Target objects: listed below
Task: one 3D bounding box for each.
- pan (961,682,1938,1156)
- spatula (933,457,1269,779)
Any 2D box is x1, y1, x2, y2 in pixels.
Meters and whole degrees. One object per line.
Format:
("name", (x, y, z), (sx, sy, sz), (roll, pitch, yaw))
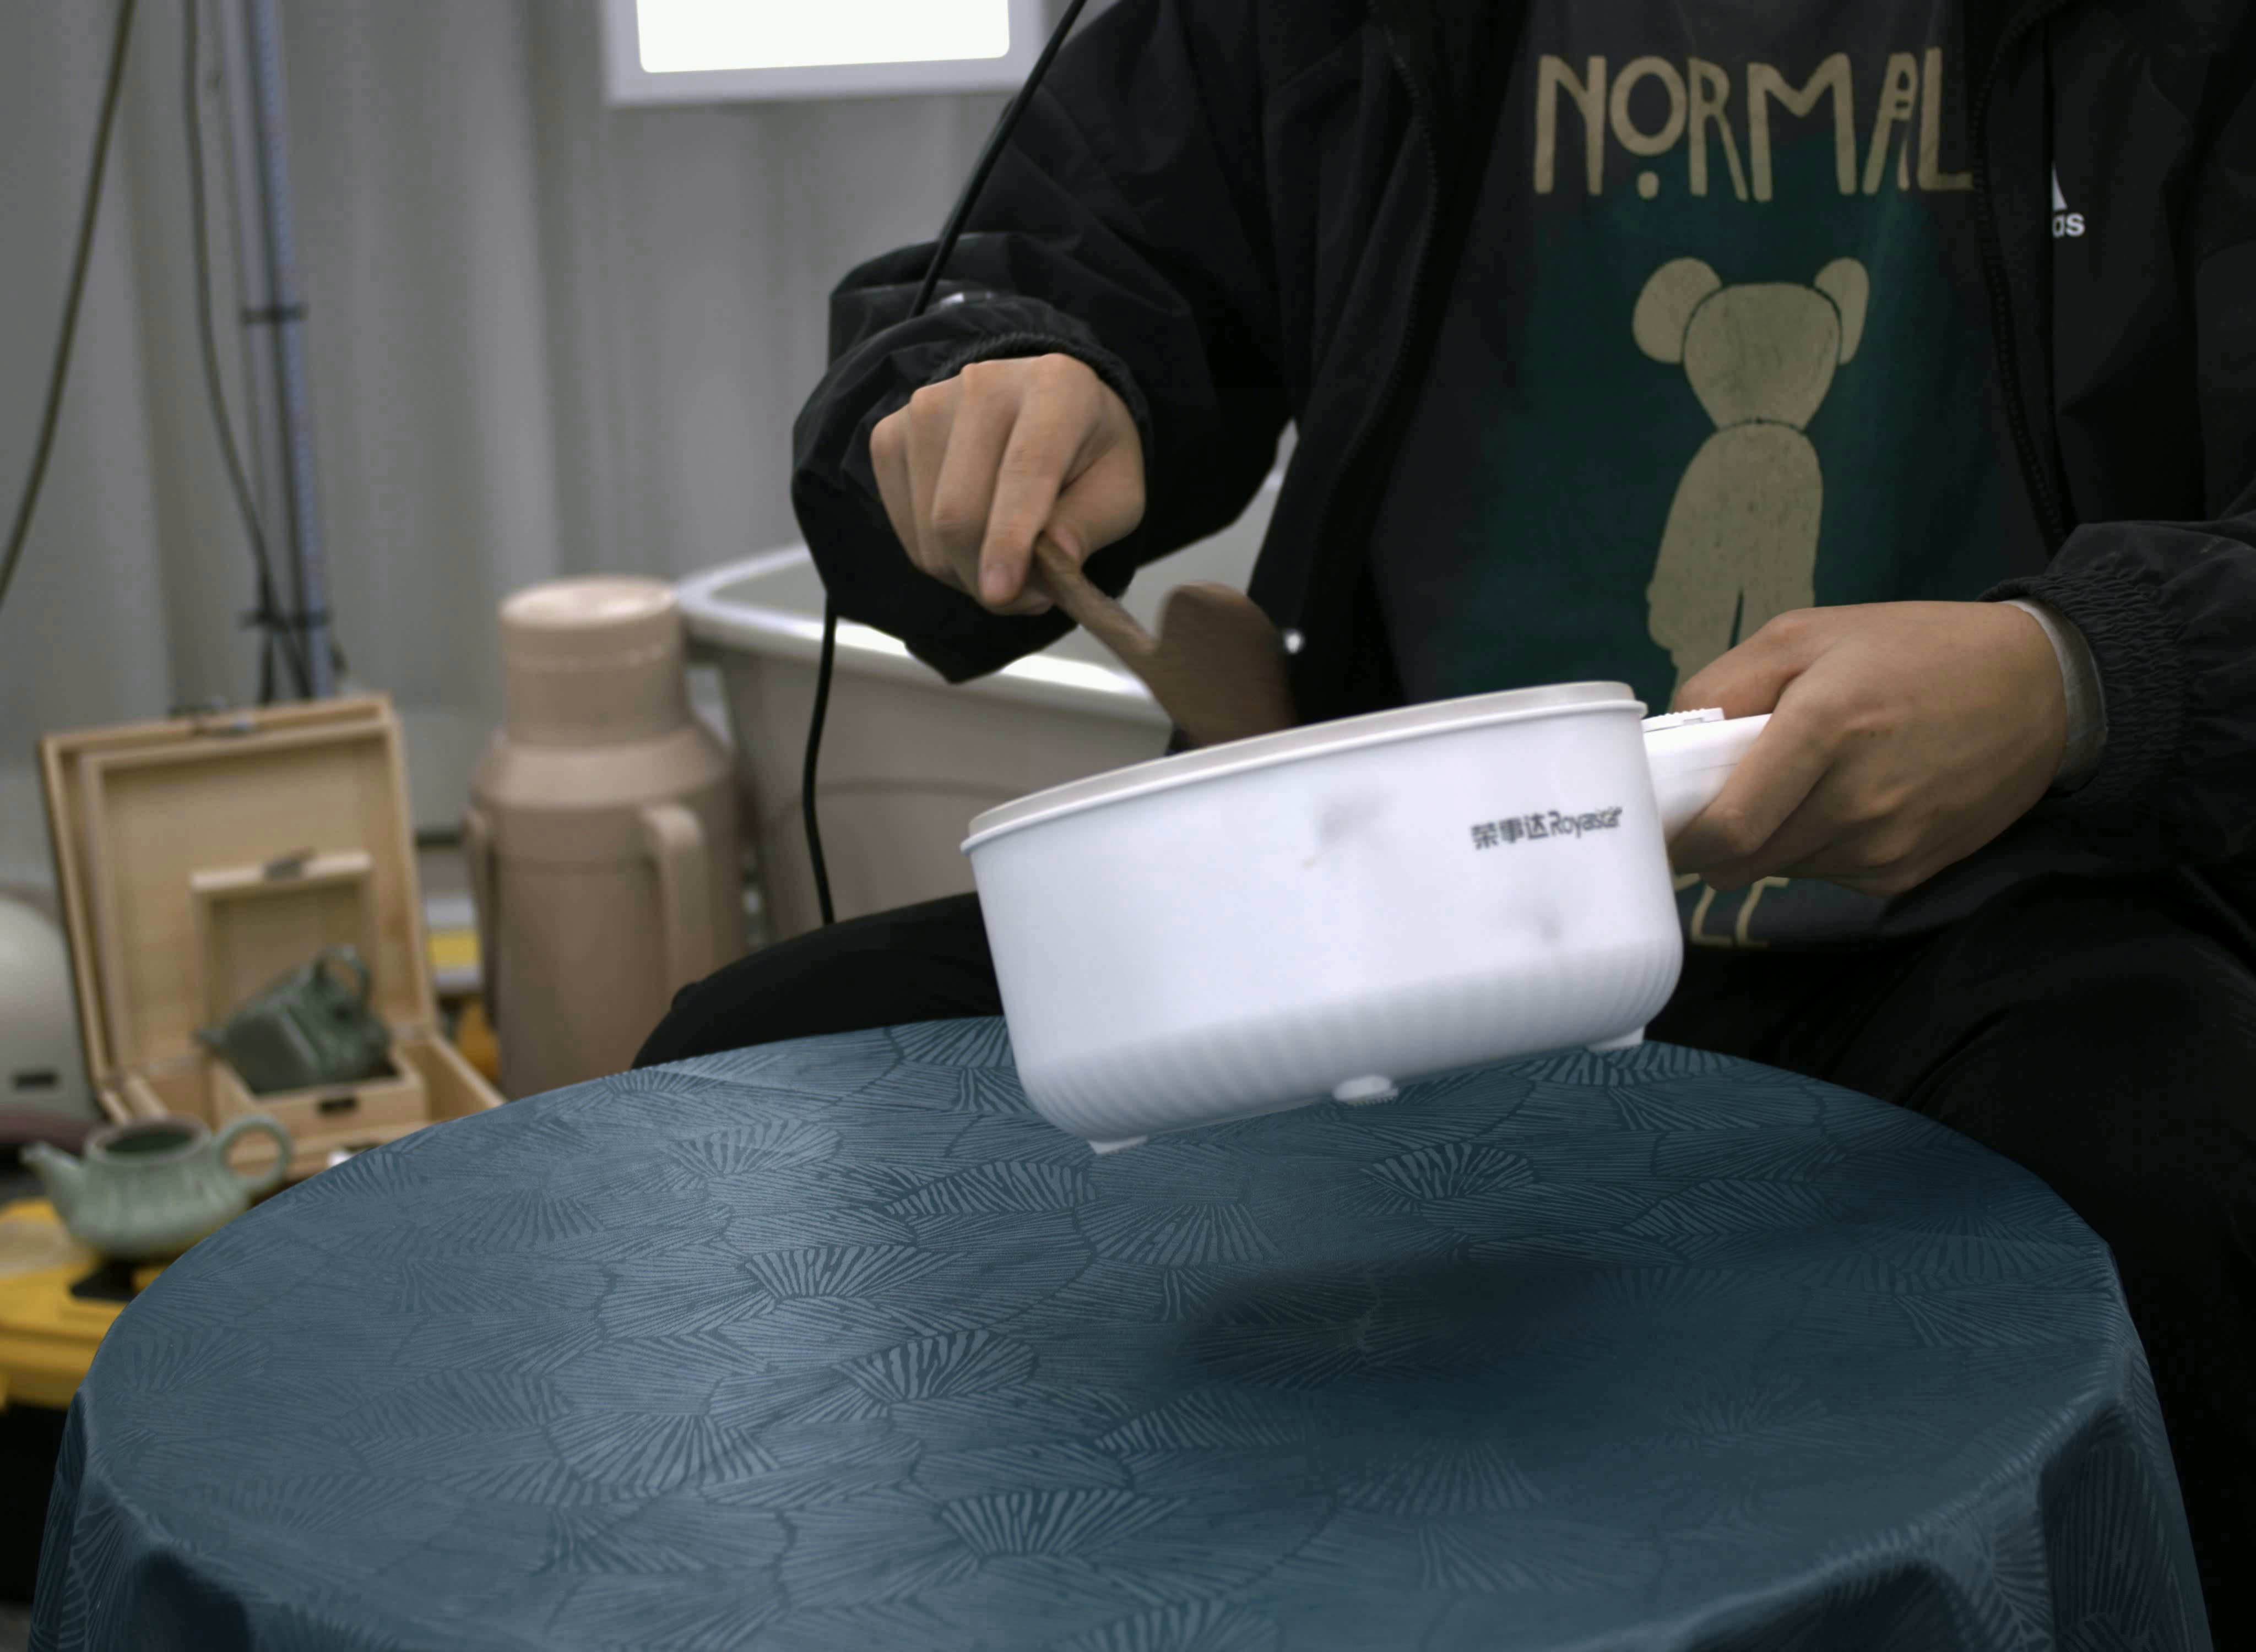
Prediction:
("pan", (0.115, 0.024, 1.616), (0.353, 0.103, 0.201), (-6, -8, -42))
("spatula", (-0.012, -0.067, 1.714), (0.016, 0.095, 0.389), (-17, 19, -10))
